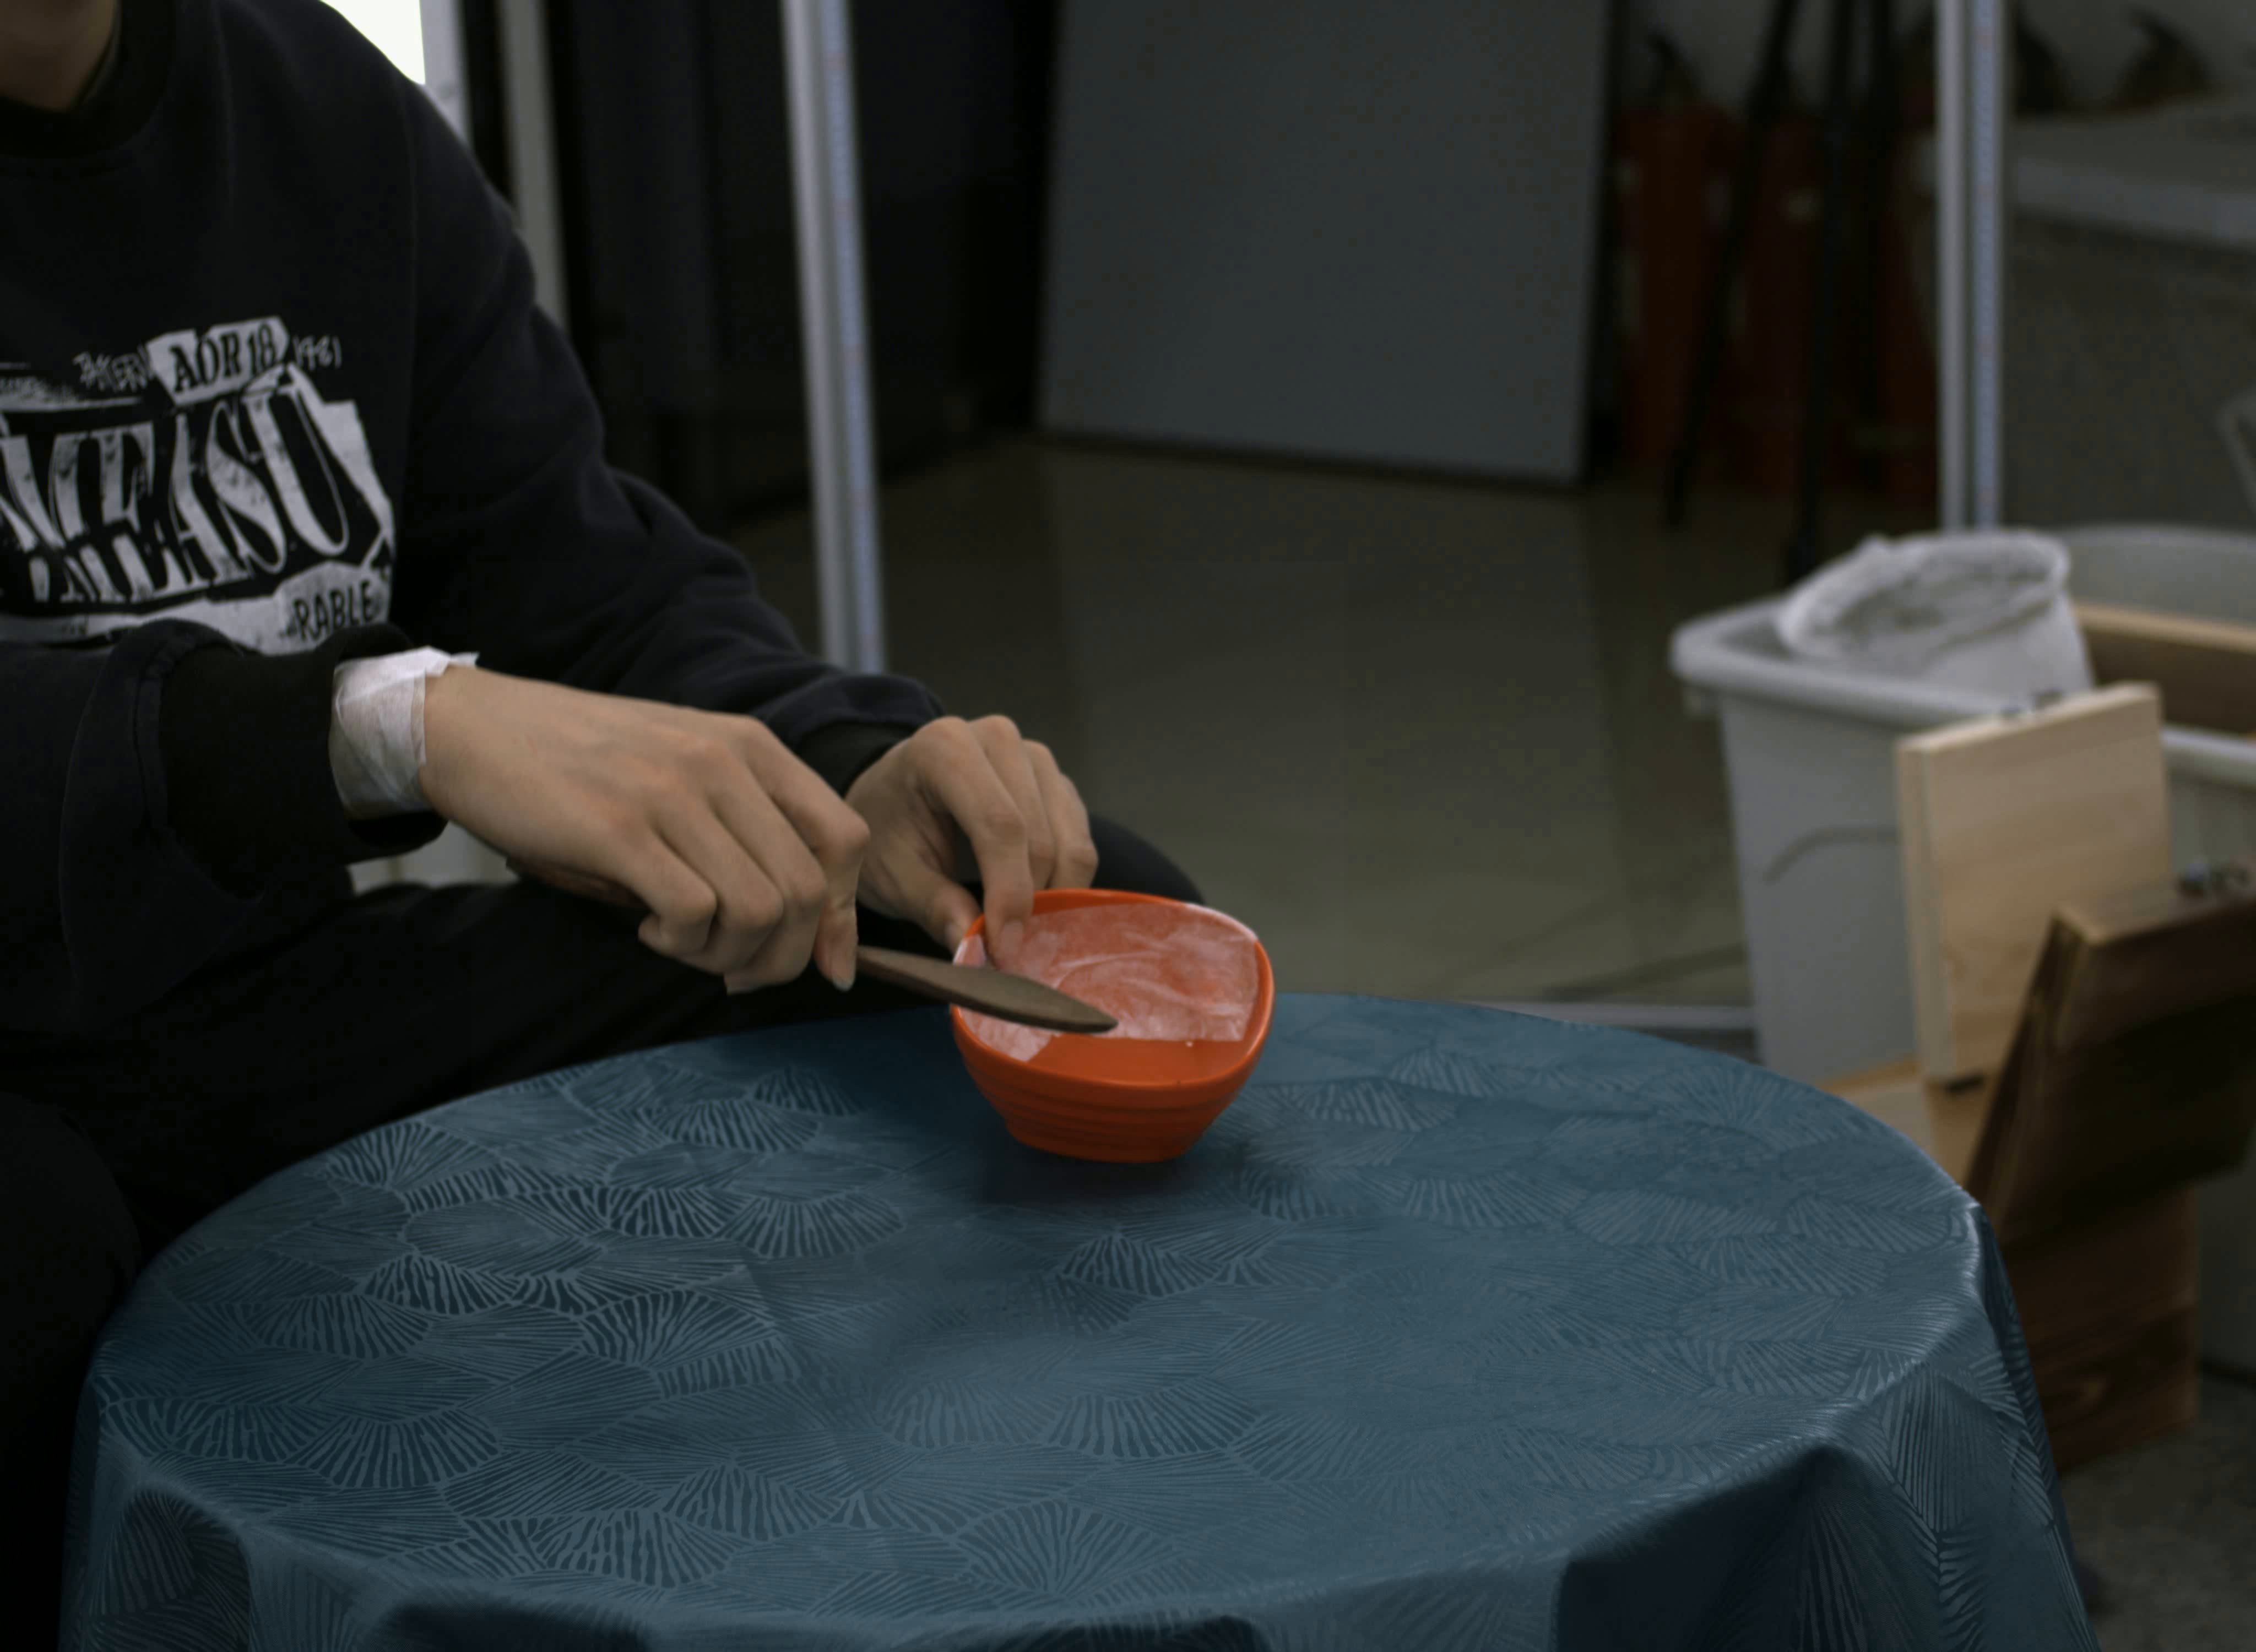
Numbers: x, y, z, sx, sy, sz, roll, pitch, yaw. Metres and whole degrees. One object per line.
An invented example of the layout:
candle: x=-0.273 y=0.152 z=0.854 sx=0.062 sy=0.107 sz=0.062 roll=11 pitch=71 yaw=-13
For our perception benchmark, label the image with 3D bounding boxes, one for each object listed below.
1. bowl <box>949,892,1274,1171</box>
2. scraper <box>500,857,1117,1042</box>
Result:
bowl: x=-0.007 y=0.075 z=1.812 sx=0.117 sy=0.052 sz=0.119 roll=2 pitch=35 yaw=-2
scraper: x=-0.100 y=0.038 z=1.667 sx=0.206 sy=0.011 sz=0.076 roll=17 pitch=3 yaw=-33
